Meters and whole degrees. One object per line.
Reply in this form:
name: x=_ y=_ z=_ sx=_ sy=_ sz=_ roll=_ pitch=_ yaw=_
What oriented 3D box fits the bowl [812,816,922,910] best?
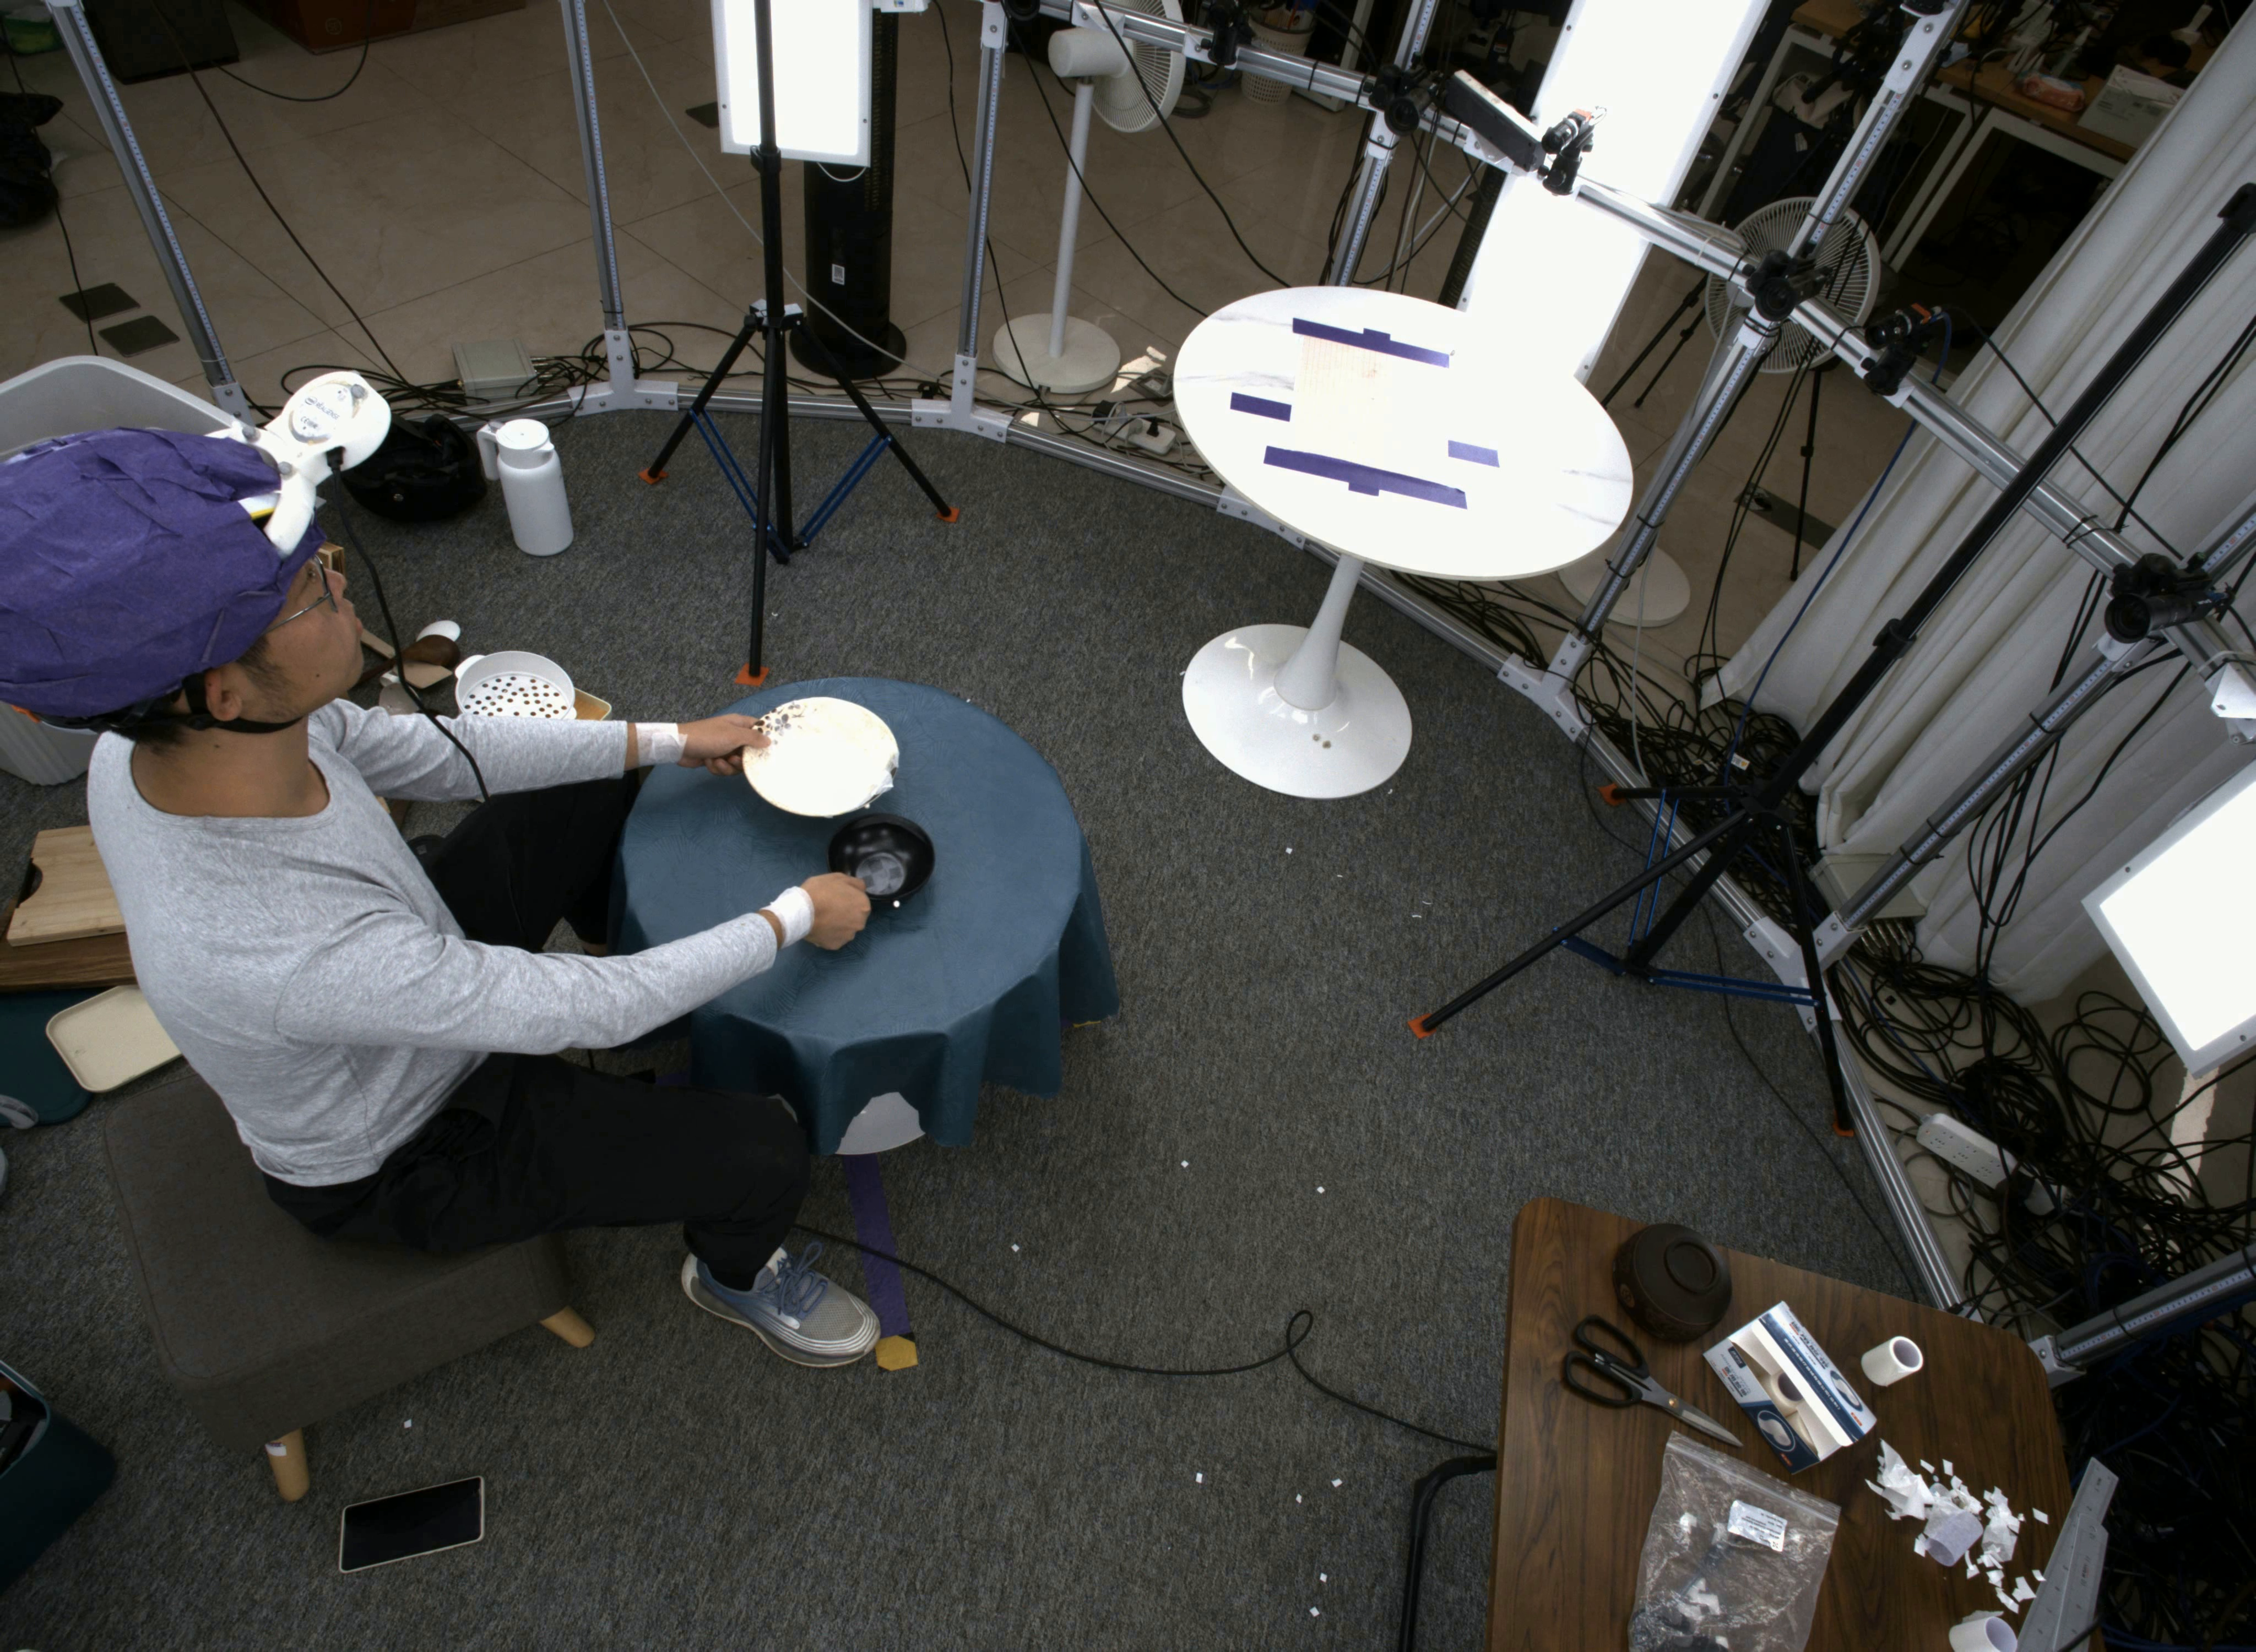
bowl: x=-0.338 y=0.055 z=1.688 sx=0.139 sy=0.051 sz=0.137 roll=6 pitch=53 yaw=-6

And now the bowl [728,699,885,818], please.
bowl: x=-0.428 y=-0.071 z=1.736 sx=0.203 sy=0.079 sz=0.200 roll=7 pitch=52 yaw=-7
